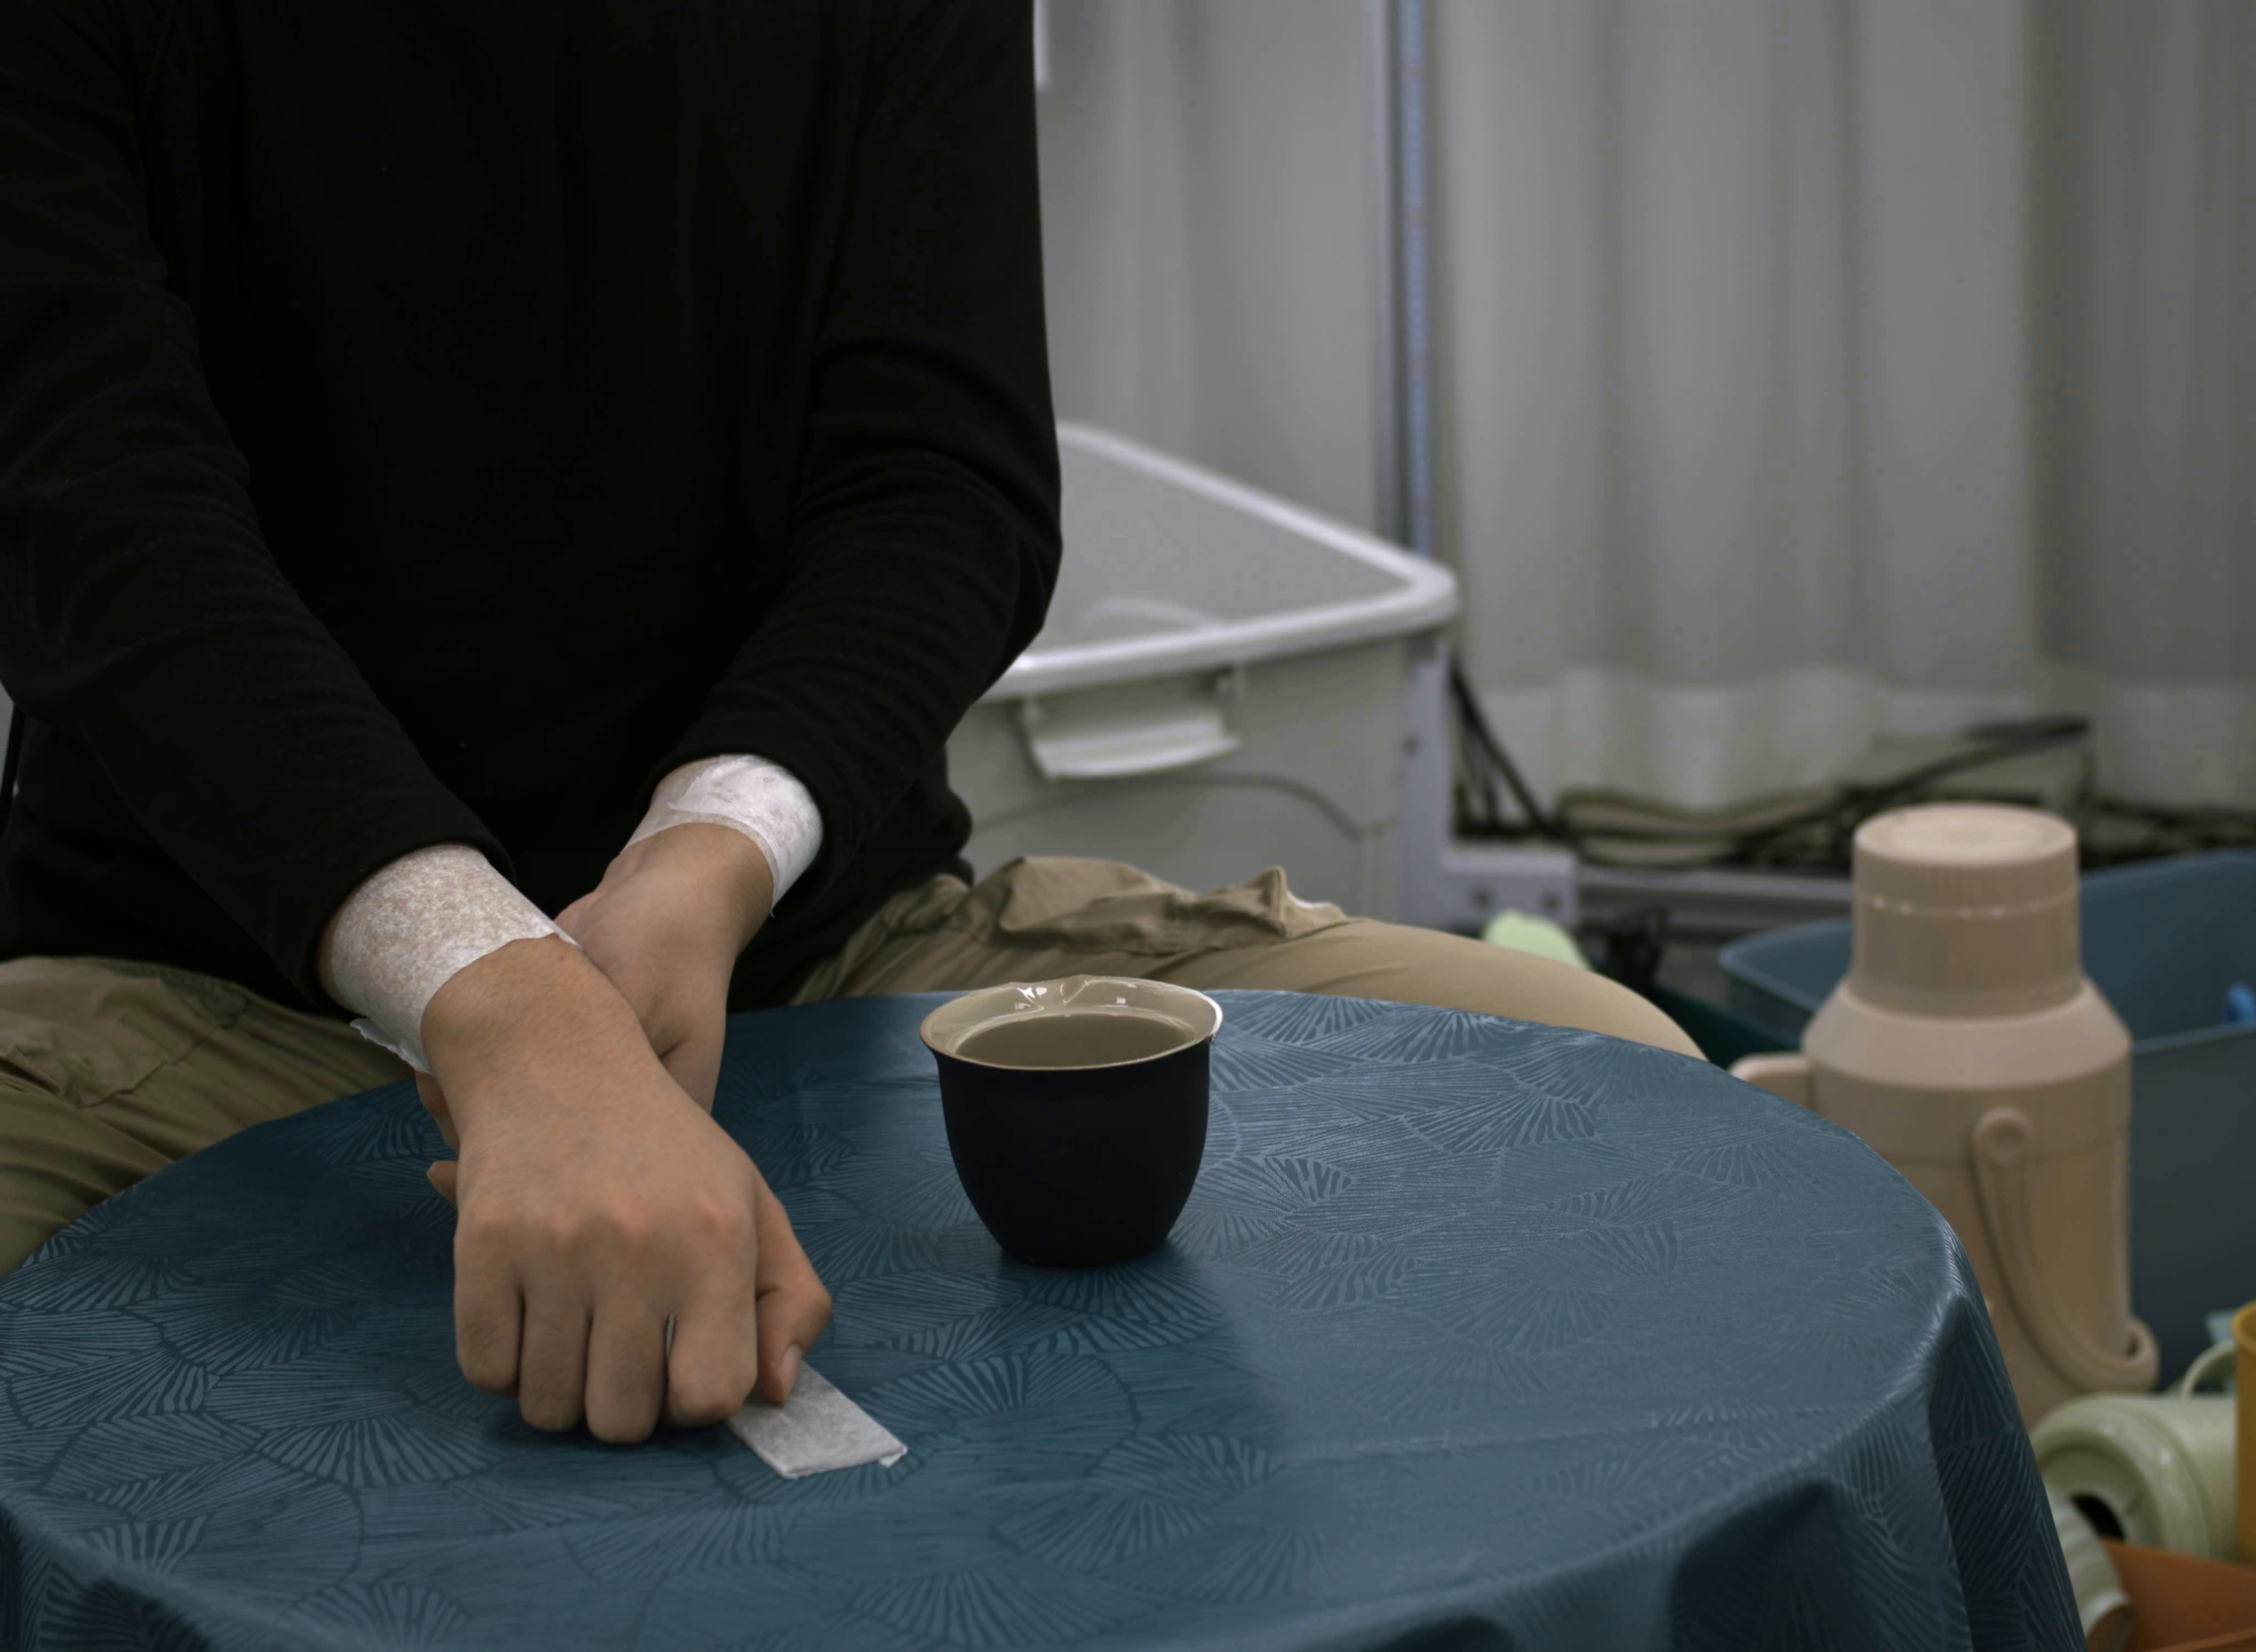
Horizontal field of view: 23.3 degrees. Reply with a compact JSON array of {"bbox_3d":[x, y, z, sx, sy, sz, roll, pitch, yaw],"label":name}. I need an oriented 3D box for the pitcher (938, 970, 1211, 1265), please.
[{"bbox_3d":[-0.016,0.091,1.666,0.083,0.071,0.097,-6,15,-8],"label":"pitcher"}]

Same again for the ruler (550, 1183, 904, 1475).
[{"bbox_3d":[-0.122,0.143,1.589,0.038,0.024,0.220,-14,17,-21],"label":"ruler"}]
